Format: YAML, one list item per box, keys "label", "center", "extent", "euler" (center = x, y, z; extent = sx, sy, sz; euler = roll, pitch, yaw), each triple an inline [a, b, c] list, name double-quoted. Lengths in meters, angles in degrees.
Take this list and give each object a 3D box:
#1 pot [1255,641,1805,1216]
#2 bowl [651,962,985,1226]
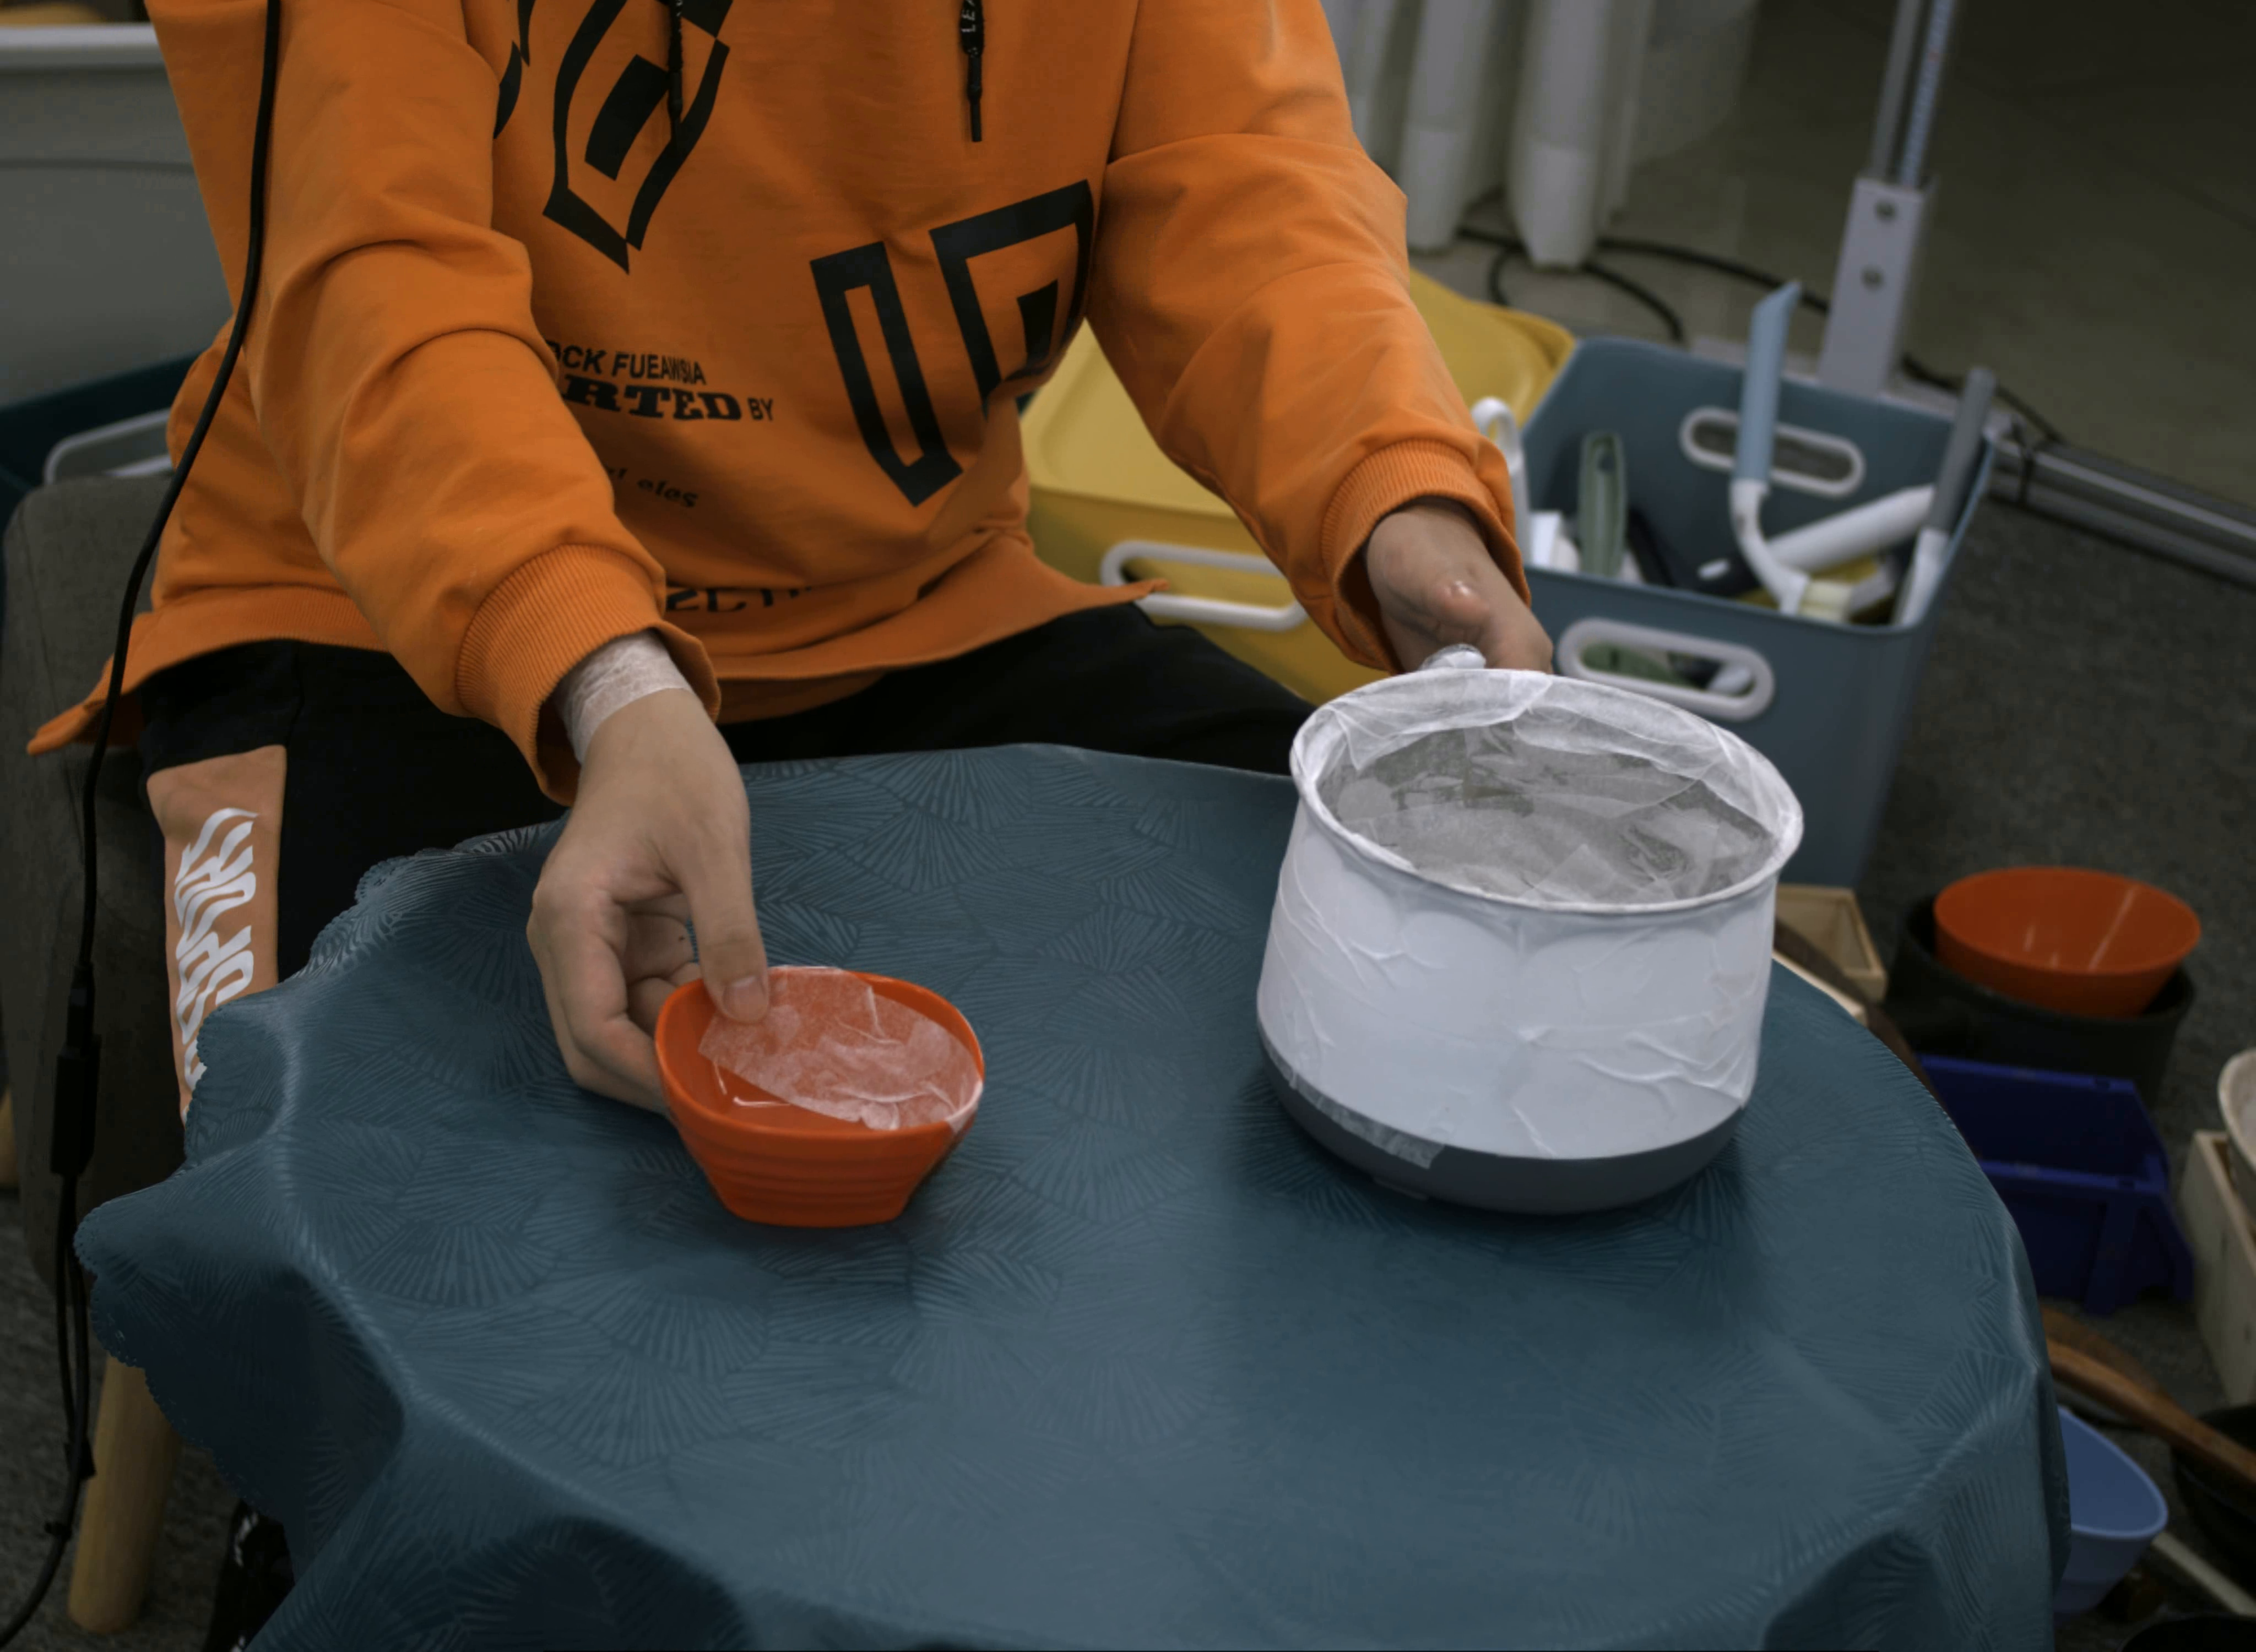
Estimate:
- label: "pot"
  center: [0.128, 0.029, 1.866]
  extent: [0.177, 0.136, 0.236]
  euler: [-1, 28, -16]
- label: "bowl"
  center: [-0.105, 0.094, 1.779]
  extent: [0.118, 0.051, 0.119]
  euler: [5, 29, -3]
